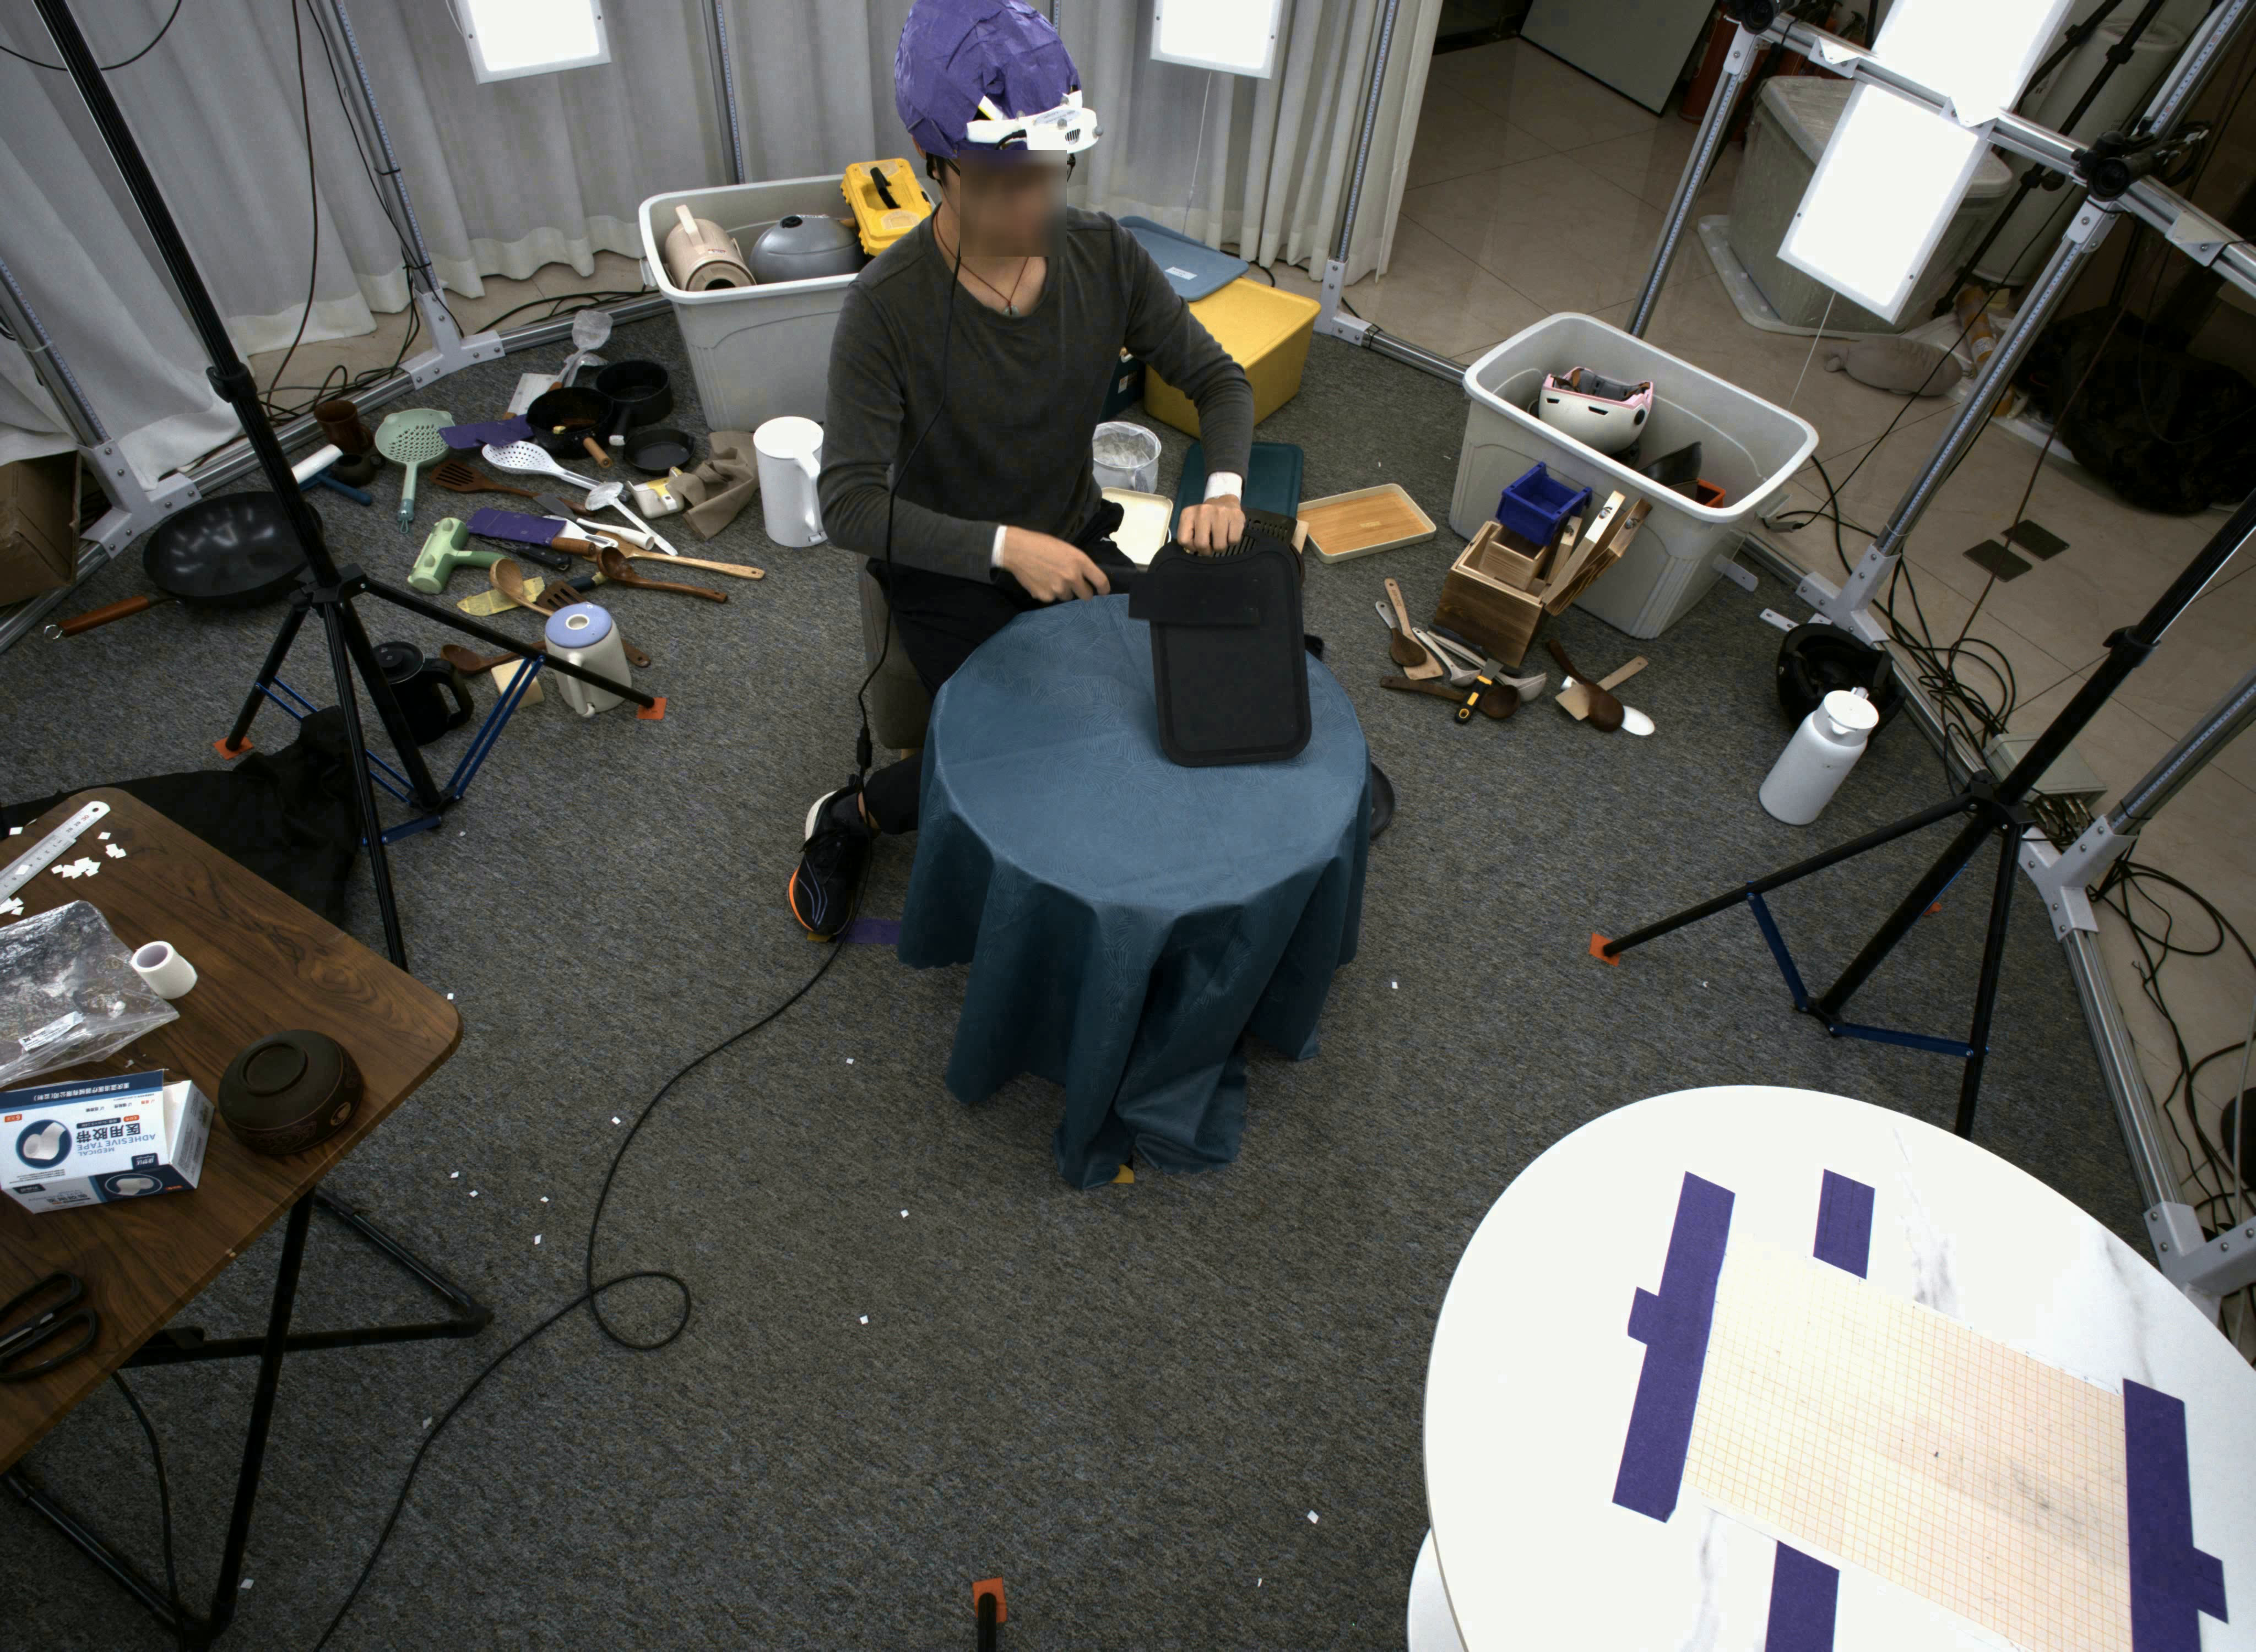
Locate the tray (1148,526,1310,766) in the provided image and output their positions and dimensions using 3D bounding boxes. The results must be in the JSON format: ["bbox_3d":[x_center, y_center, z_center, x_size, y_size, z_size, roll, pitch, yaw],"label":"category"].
[{"bbox_3d":[0.136,-0.248,1.752,0.211,0.010,0.326,-4,87,-2],"label":"tray"}]

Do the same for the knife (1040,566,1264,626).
[{"bbox_3d":[0.033,-0.310,1.731,0.302,0.080,0.021,8,15,-1],"label":"knife"}]
